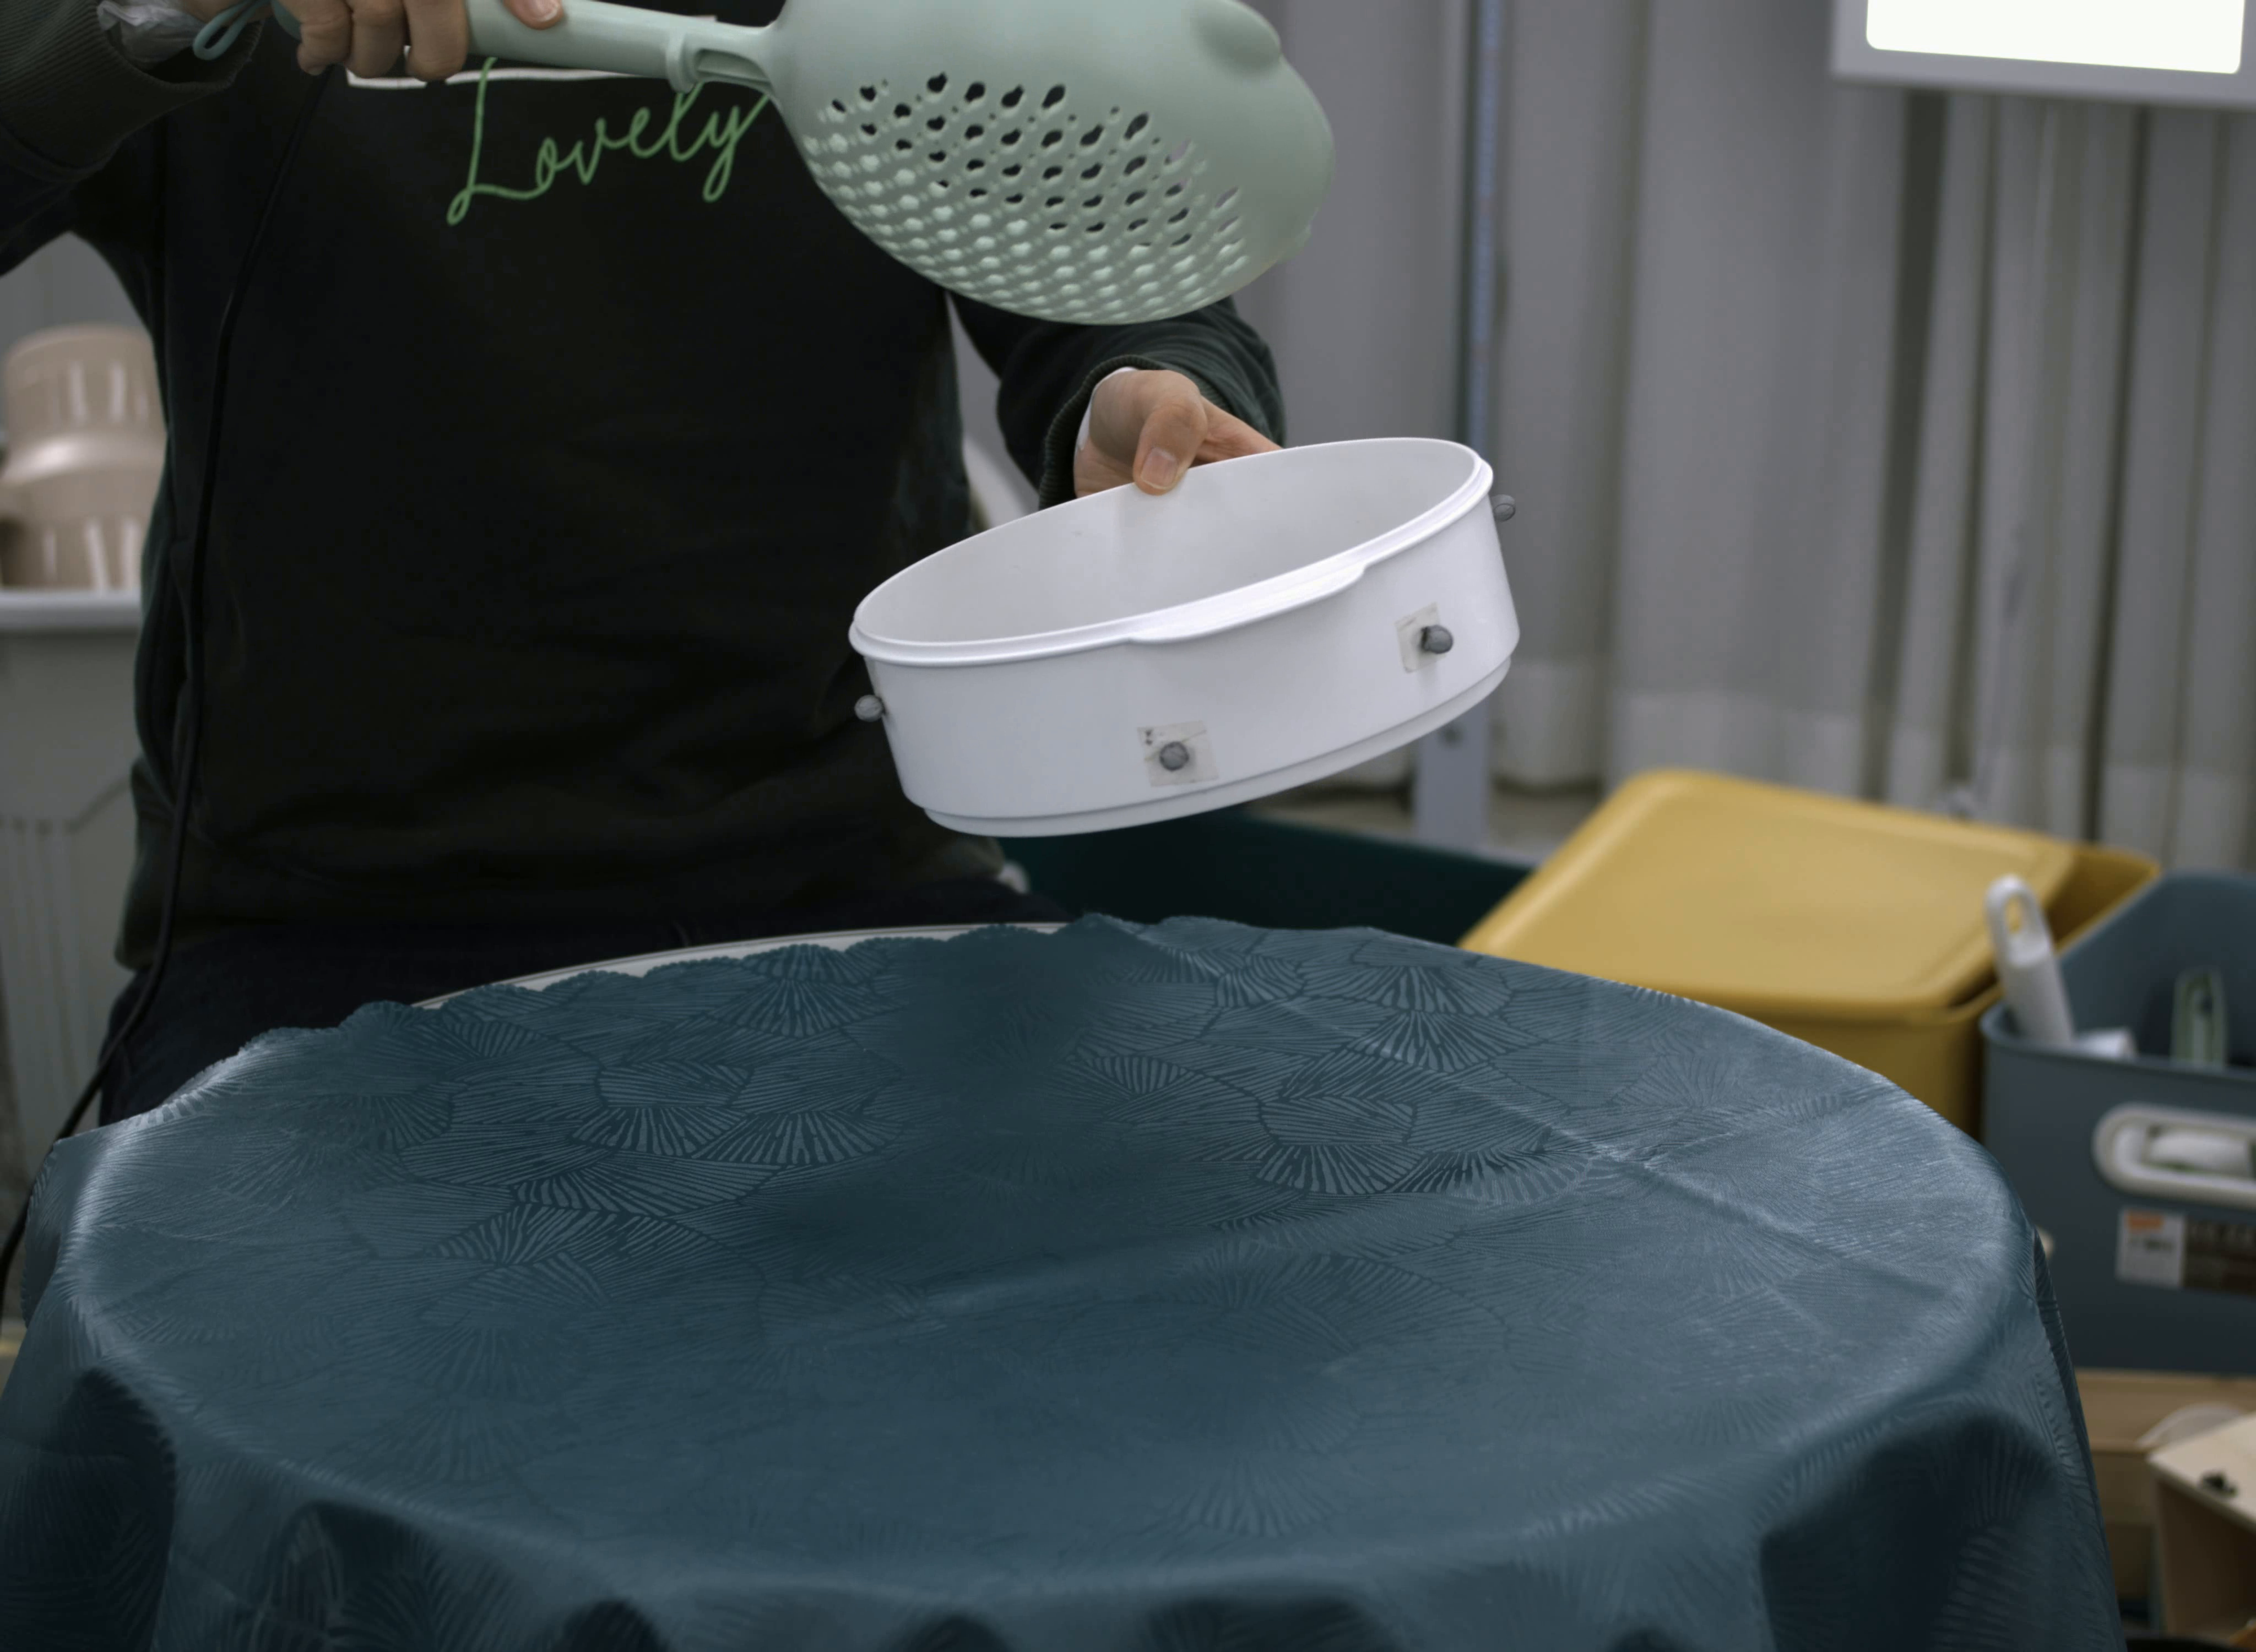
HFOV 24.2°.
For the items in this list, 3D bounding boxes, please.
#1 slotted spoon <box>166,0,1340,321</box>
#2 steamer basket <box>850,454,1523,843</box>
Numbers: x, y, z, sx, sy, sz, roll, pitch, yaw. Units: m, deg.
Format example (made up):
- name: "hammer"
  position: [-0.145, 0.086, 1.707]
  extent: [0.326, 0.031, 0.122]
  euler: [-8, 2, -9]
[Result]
- name: "slotted spoon"
  position: [-0.116, -0.223, 1.574]
  extent: [0.356, 0.075, 0.171]
  euler: [17, -22, 15]
- name: "steamer basket"
  position: [0.020, -0.053, 1.590]
  extent: [0.202, 0.070, 0.228]
  euler: [-16, 15, -11]
